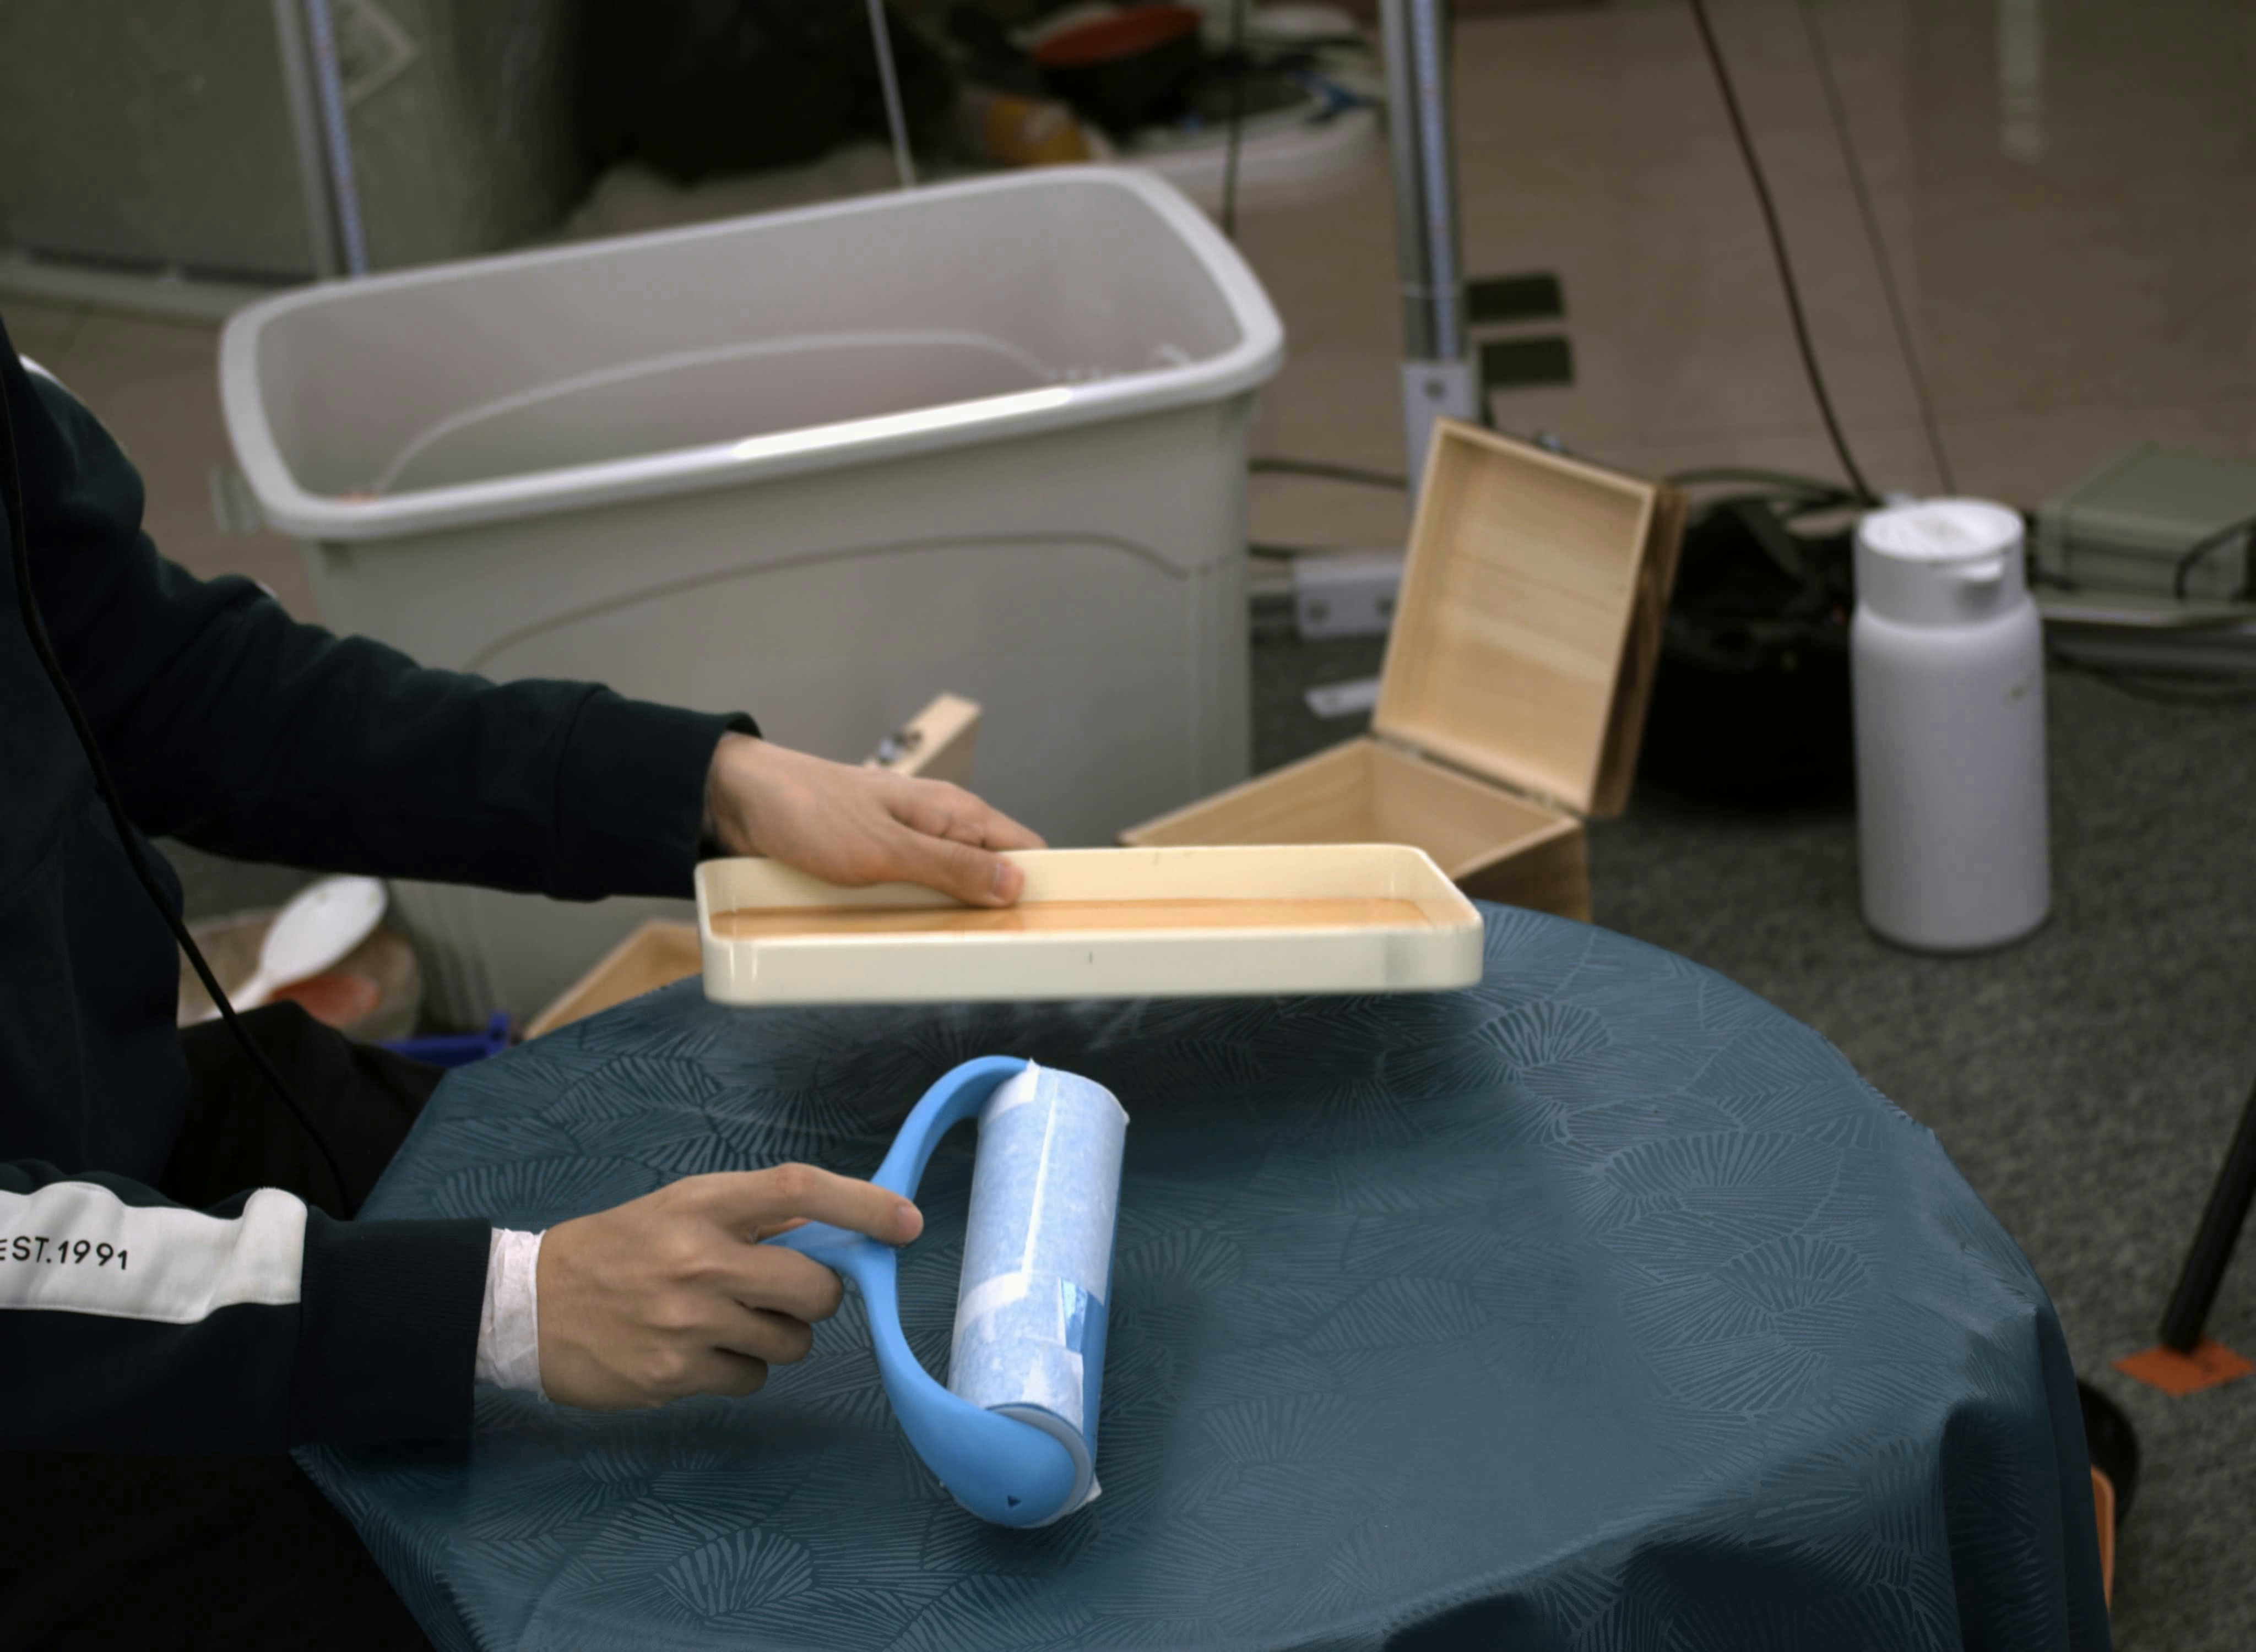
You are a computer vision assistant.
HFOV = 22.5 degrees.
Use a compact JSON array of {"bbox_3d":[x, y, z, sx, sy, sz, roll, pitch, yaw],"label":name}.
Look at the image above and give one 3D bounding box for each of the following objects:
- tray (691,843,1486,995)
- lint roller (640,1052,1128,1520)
[{"bbox_3d":[-0.020,0.035,2.221,0.300,0.027,0.190,-1,8,-5],"label":"tray"},{"bbox_3d":[-0.087,0.166,1.993,0.180,0.069,0.225,-6,36,3],"label":"lint roller"}]
